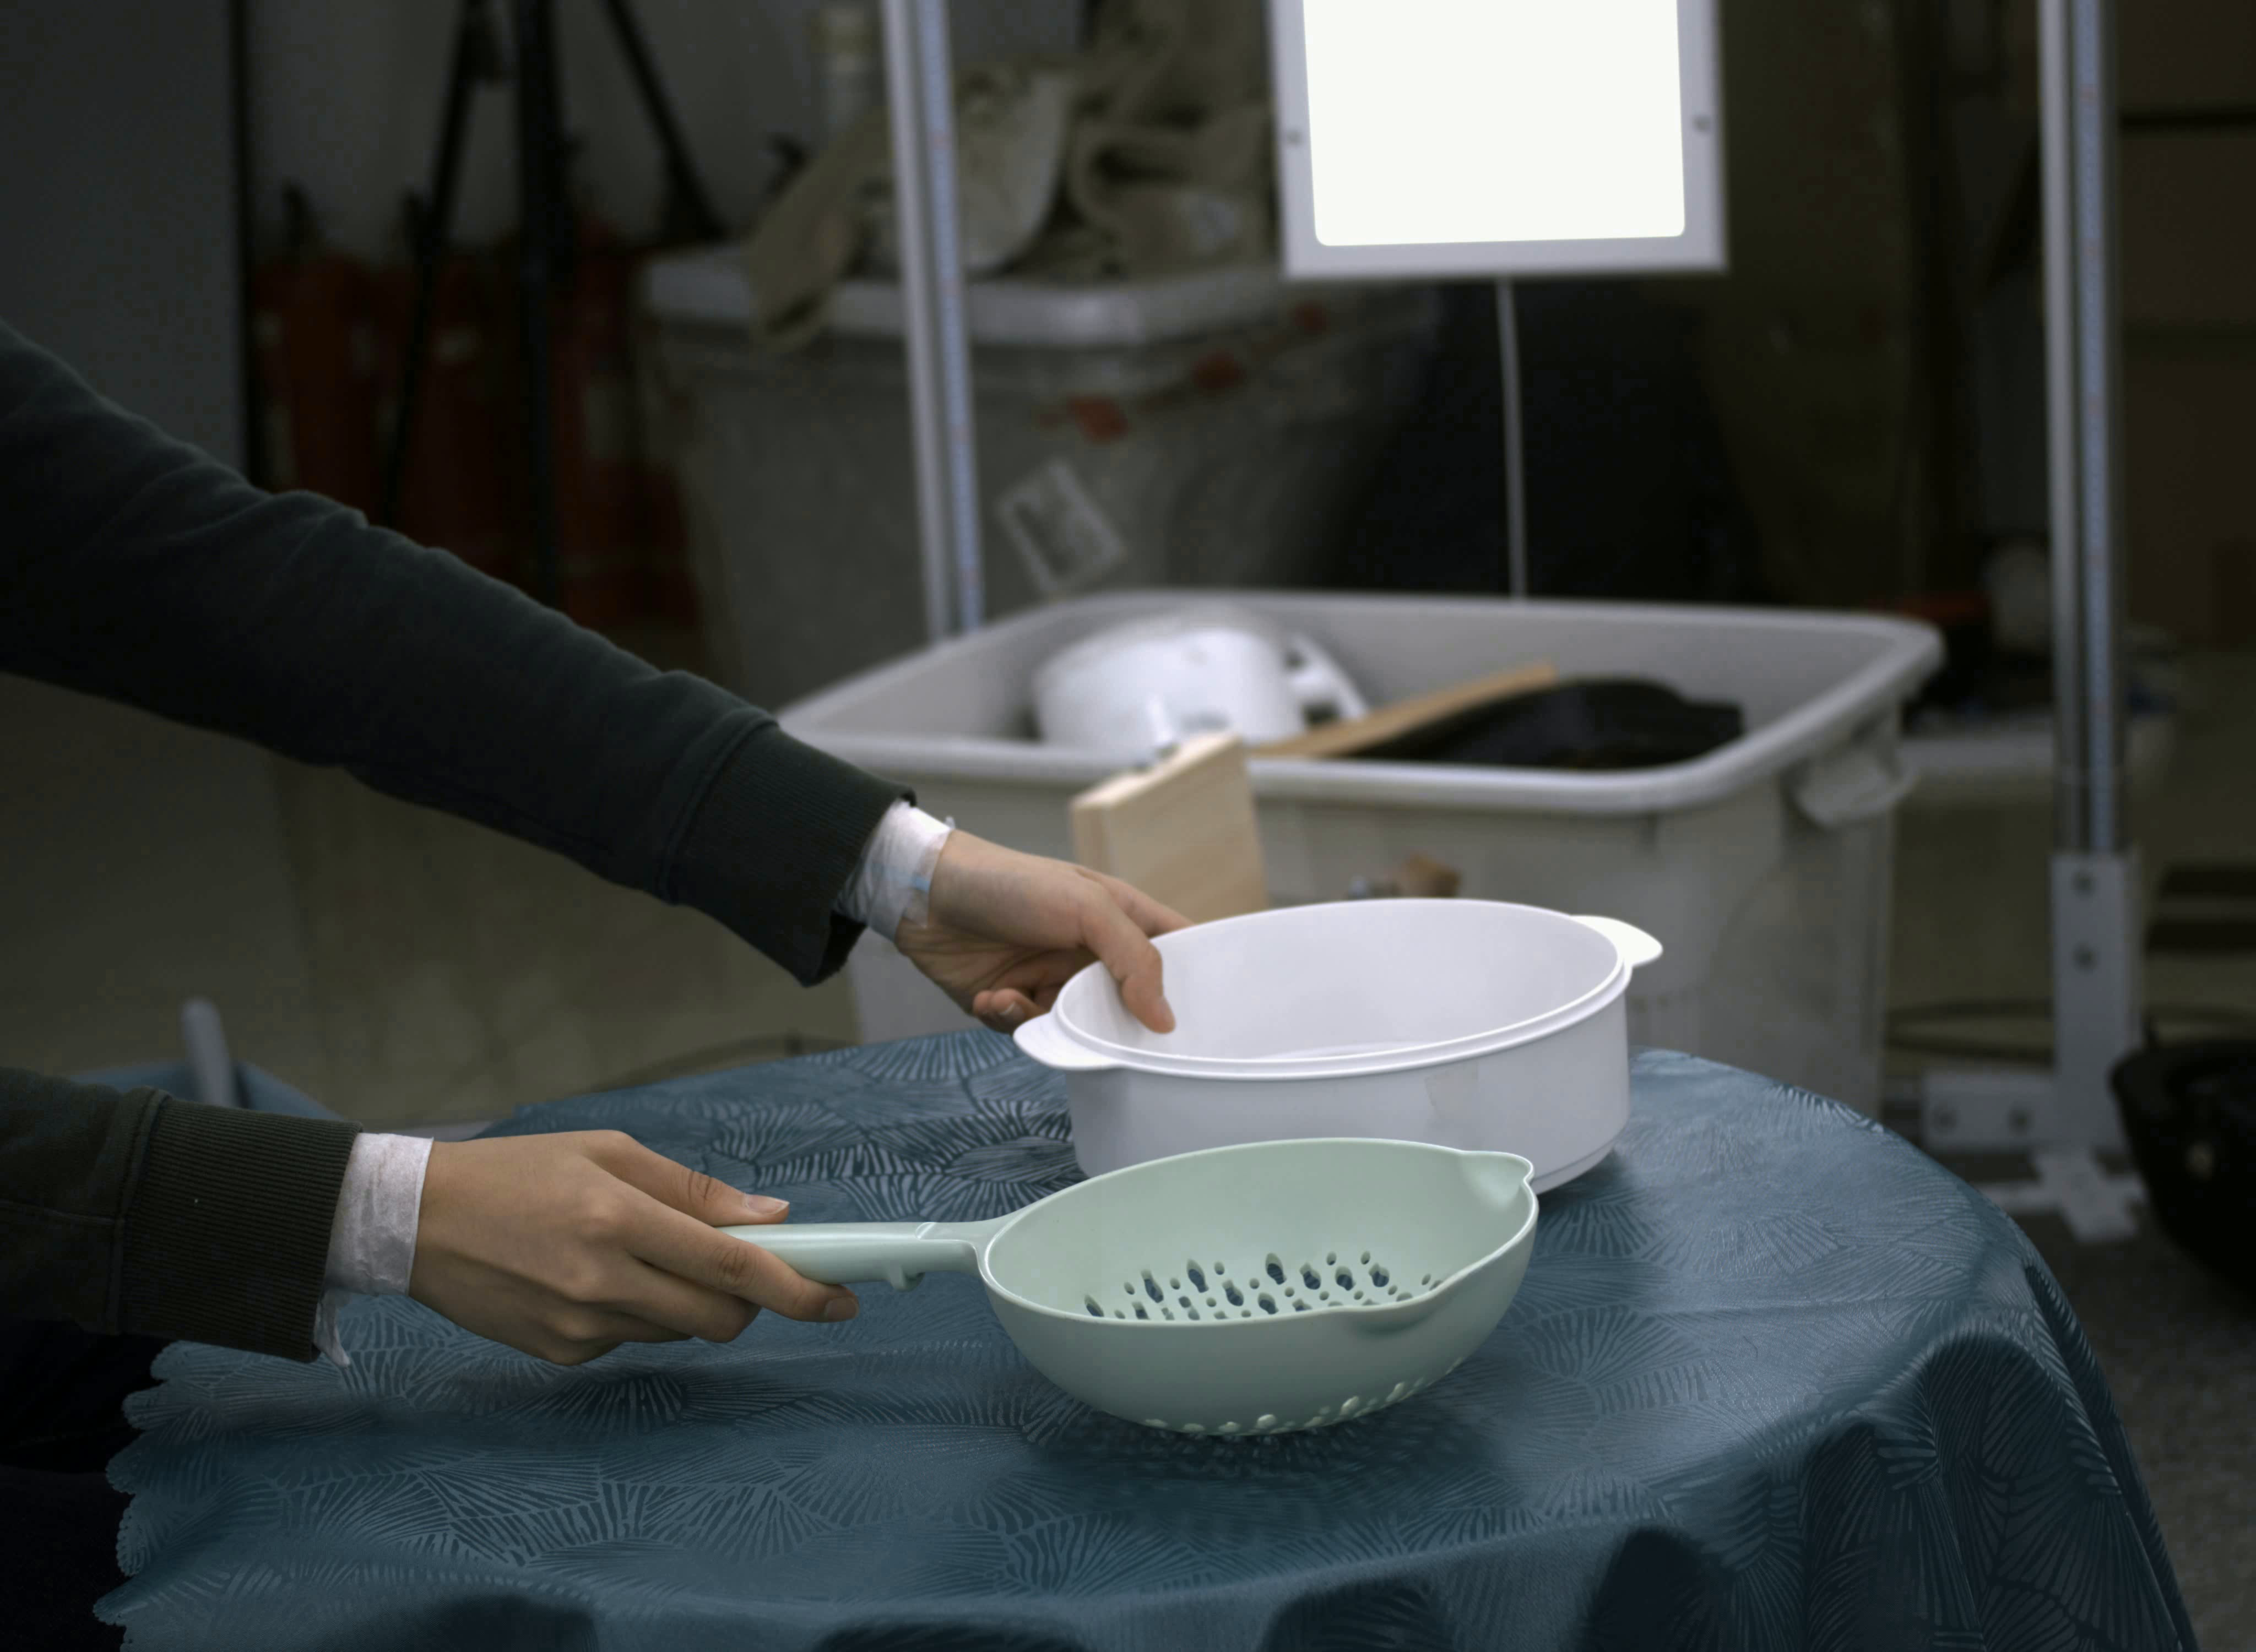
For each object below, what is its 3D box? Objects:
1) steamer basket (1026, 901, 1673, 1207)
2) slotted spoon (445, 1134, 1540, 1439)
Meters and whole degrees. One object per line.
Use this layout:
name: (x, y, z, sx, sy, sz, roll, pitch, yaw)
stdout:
steamer basket: (0.081, 0.083, 1.898, 0.227, 0.069, 0.204, -11, 14, -16)
slotted spoon: (-0.050, 0.137, 1.702, 0.363, 0.076, 0.166, 6, 17, 20)
